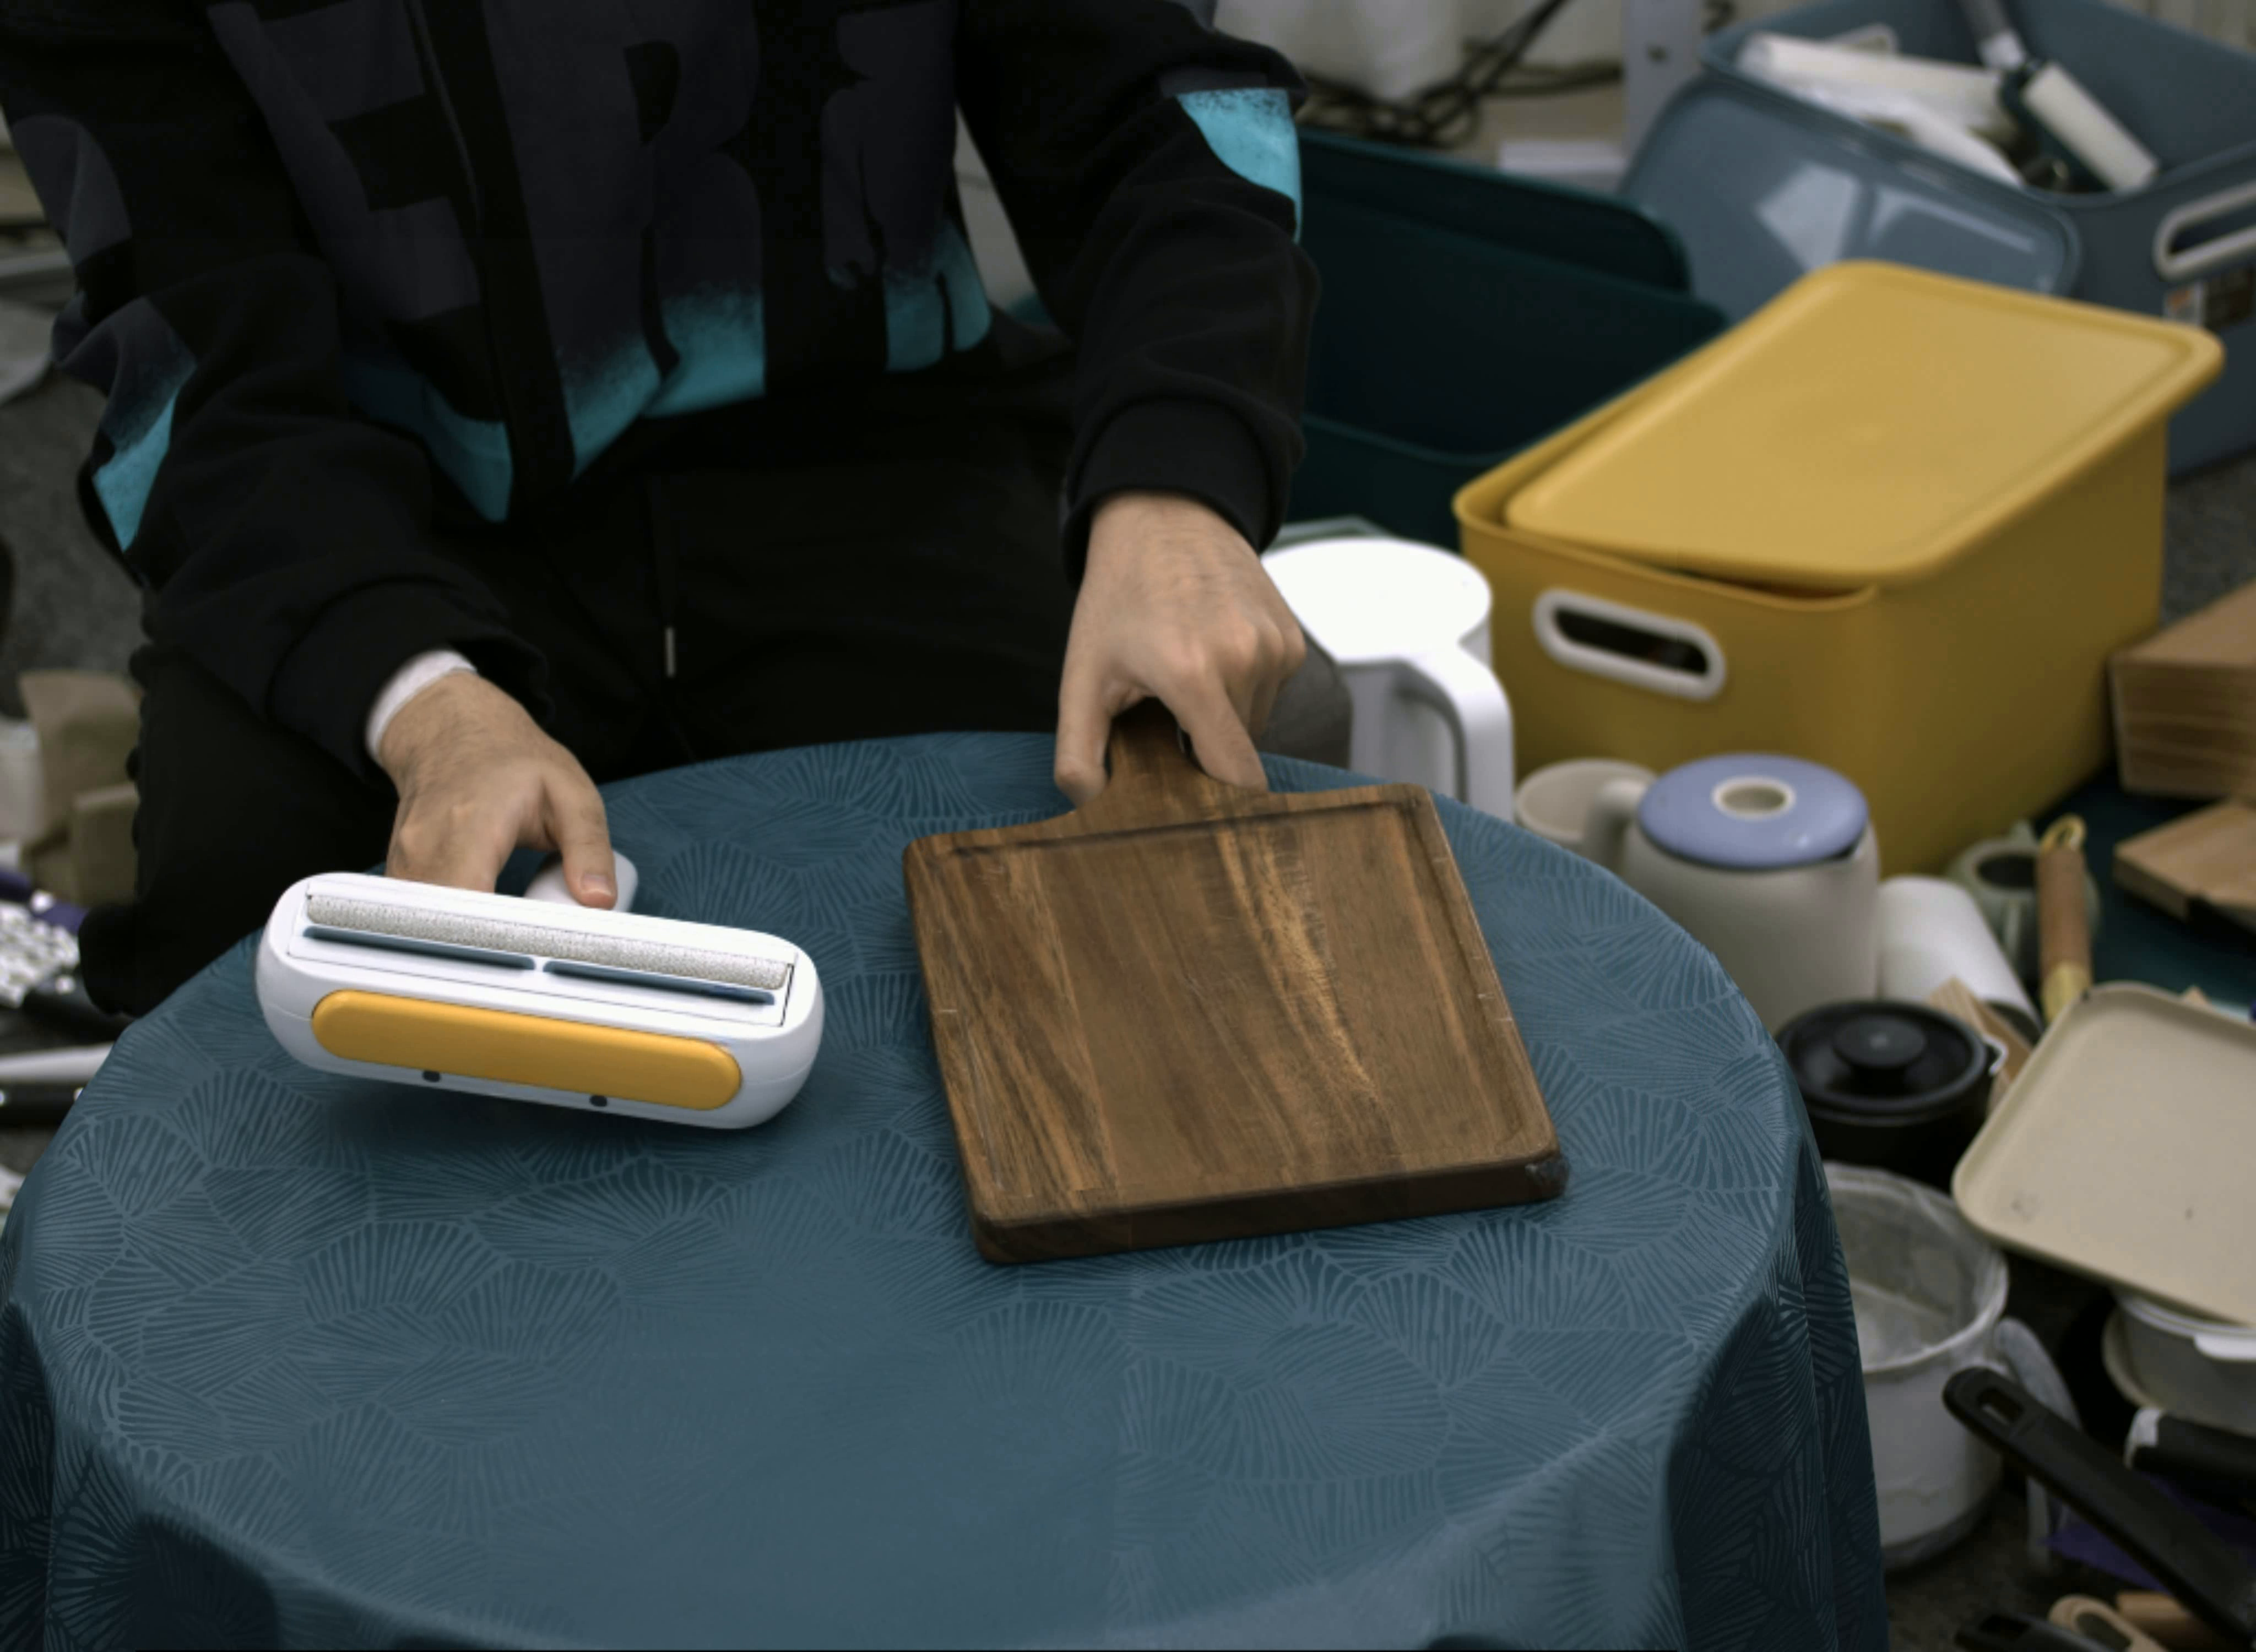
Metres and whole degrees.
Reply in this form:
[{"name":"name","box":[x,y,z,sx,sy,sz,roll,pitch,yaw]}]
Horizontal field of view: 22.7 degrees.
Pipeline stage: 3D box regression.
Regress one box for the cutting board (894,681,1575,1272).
[{"name":"cutting board","box":[0.024,0.040,1.976,0.200,0.023,0.357,-6,30,-6]}]

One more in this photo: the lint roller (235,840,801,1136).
[{"name":"lint roller","box":[-0.201,0.039,1.965,0.192,0.073,0.195,6,27,4]}]
